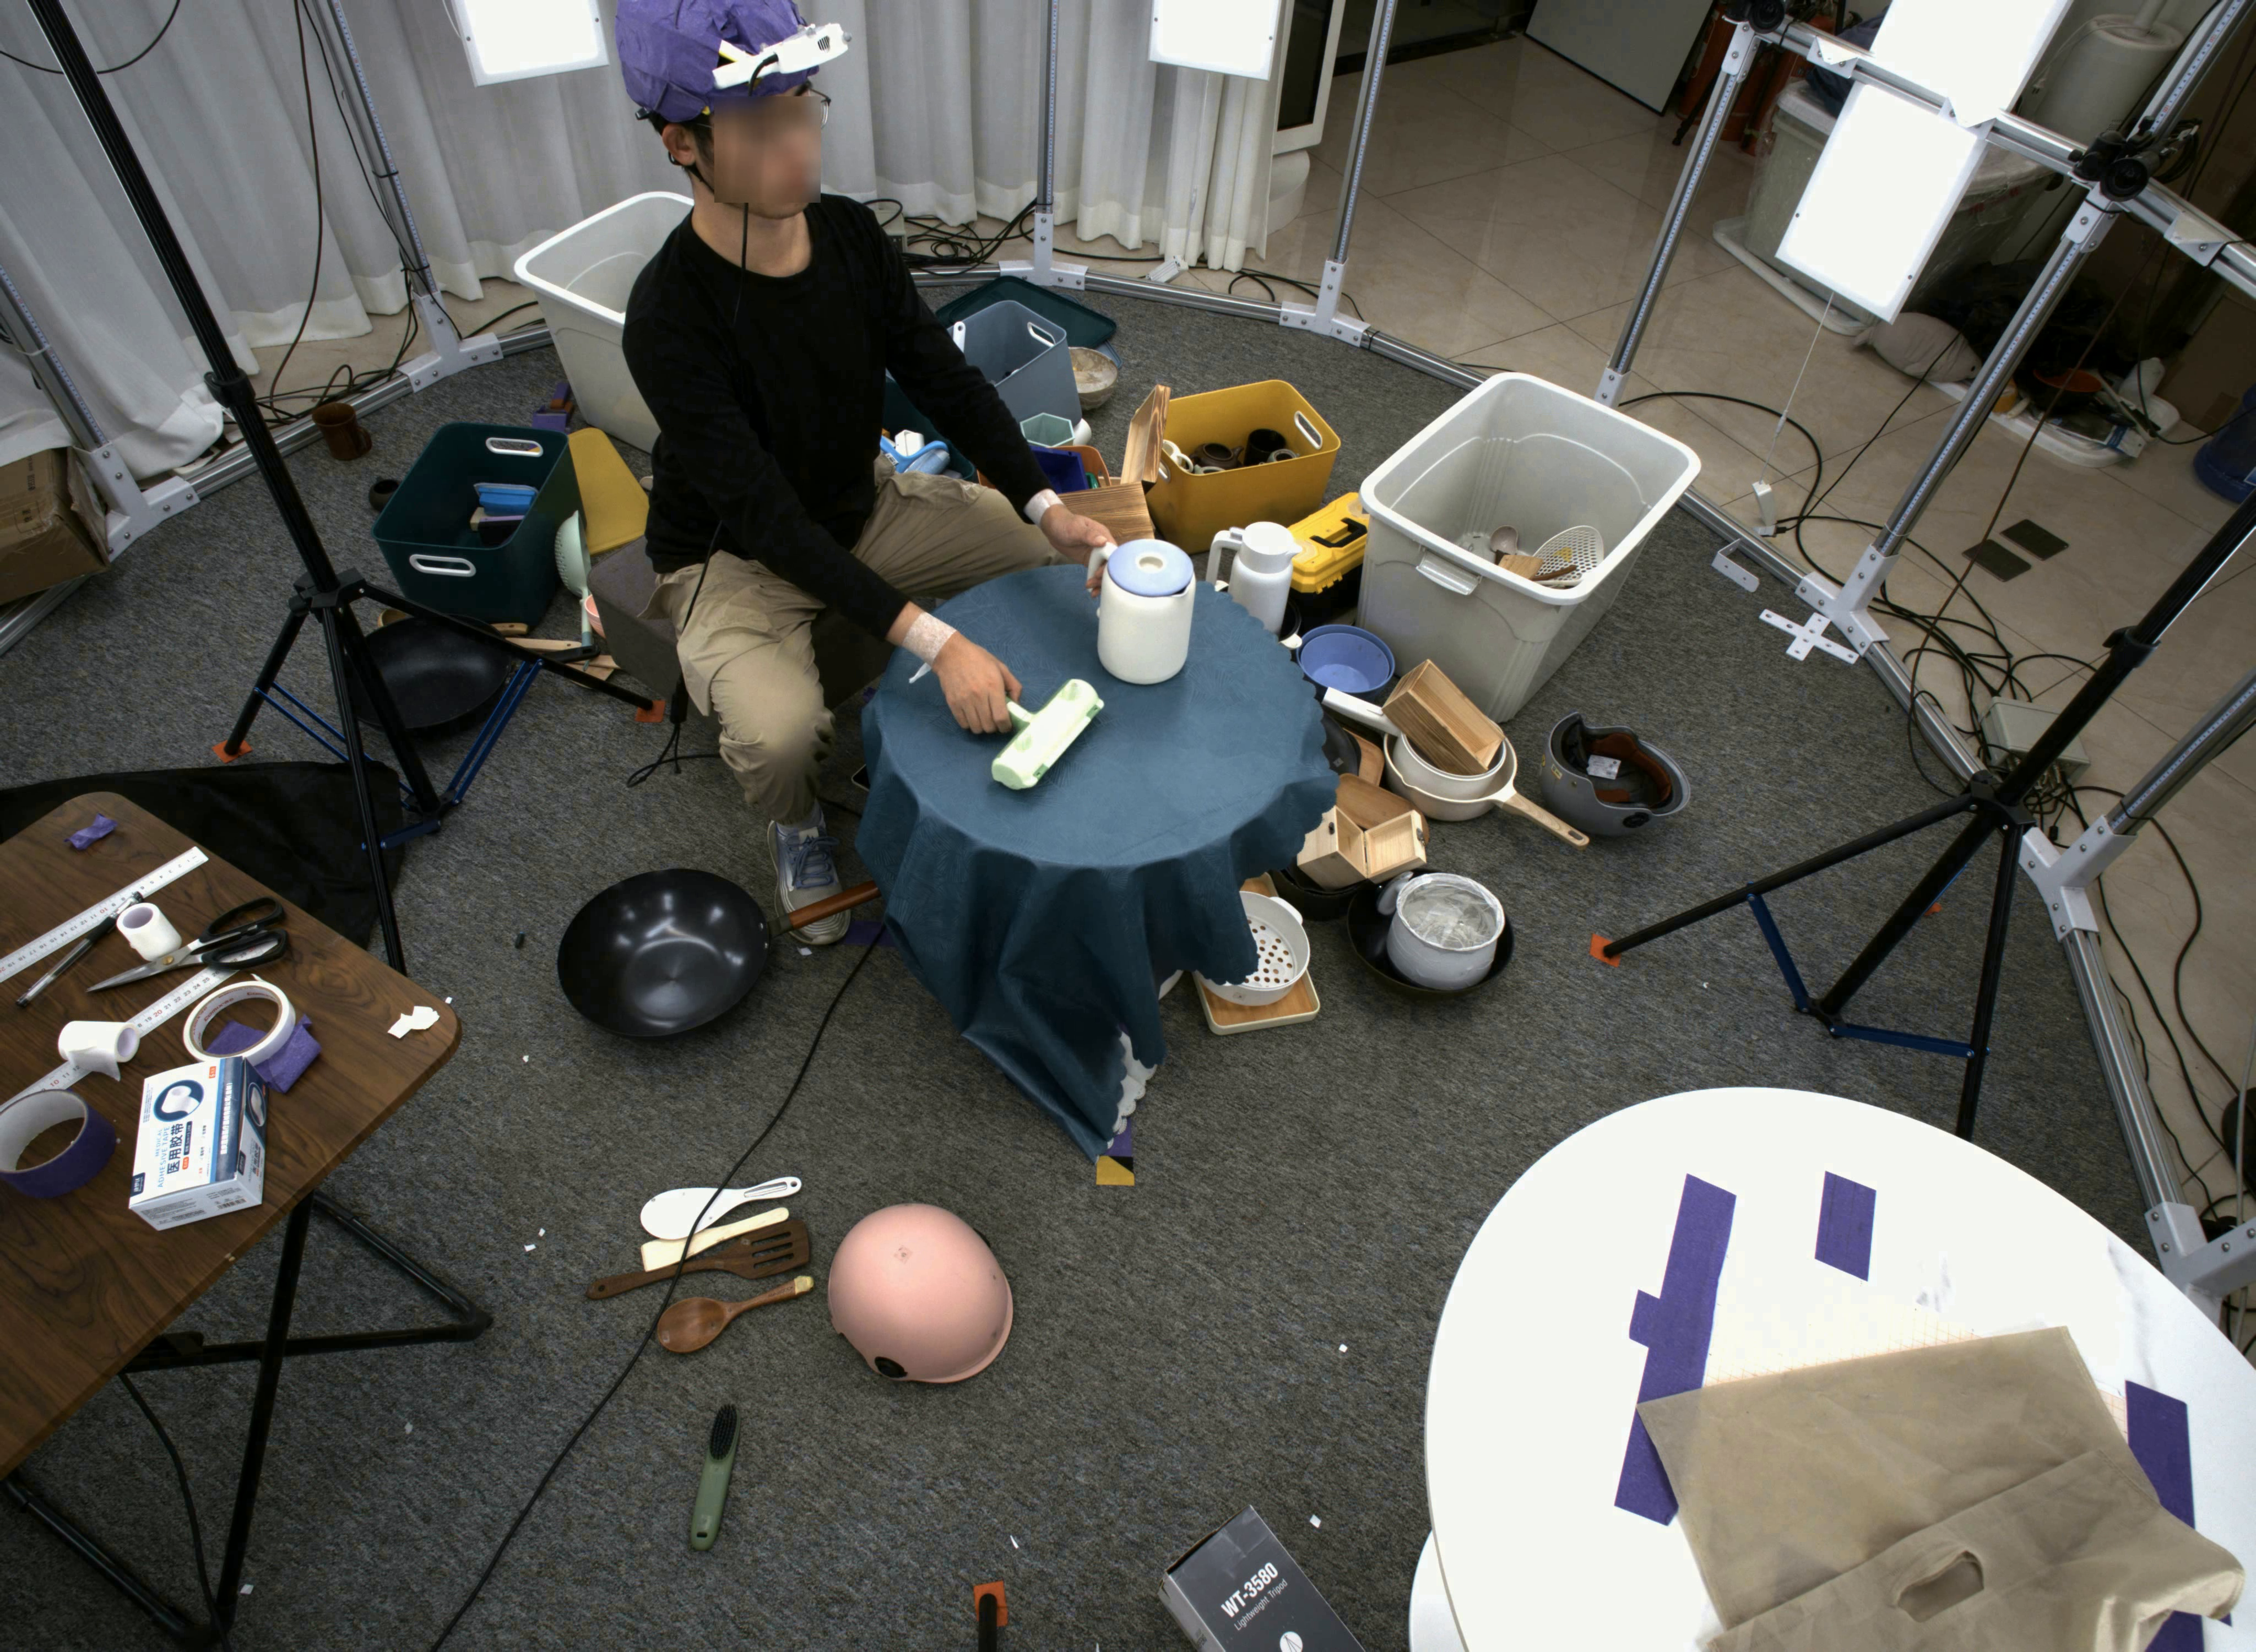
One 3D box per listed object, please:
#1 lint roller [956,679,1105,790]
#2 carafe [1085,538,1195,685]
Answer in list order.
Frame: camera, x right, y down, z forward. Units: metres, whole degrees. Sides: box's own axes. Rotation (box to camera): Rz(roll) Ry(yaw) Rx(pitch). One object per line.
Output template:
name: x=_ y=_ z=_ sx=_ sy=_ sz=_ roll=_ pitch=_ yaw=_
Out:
lint roller: x=-0.153 y=-0.161 z=1.738 sx=0.184 sy=0.080 sz=0.201 roll=35 pitch=53 yaw=7
carafe: x=0.009 y=-0.318 z=1.835 sx=0.133 sy=0.178 sz=0.194 roll=-34 pitch=58 yaw=-30
